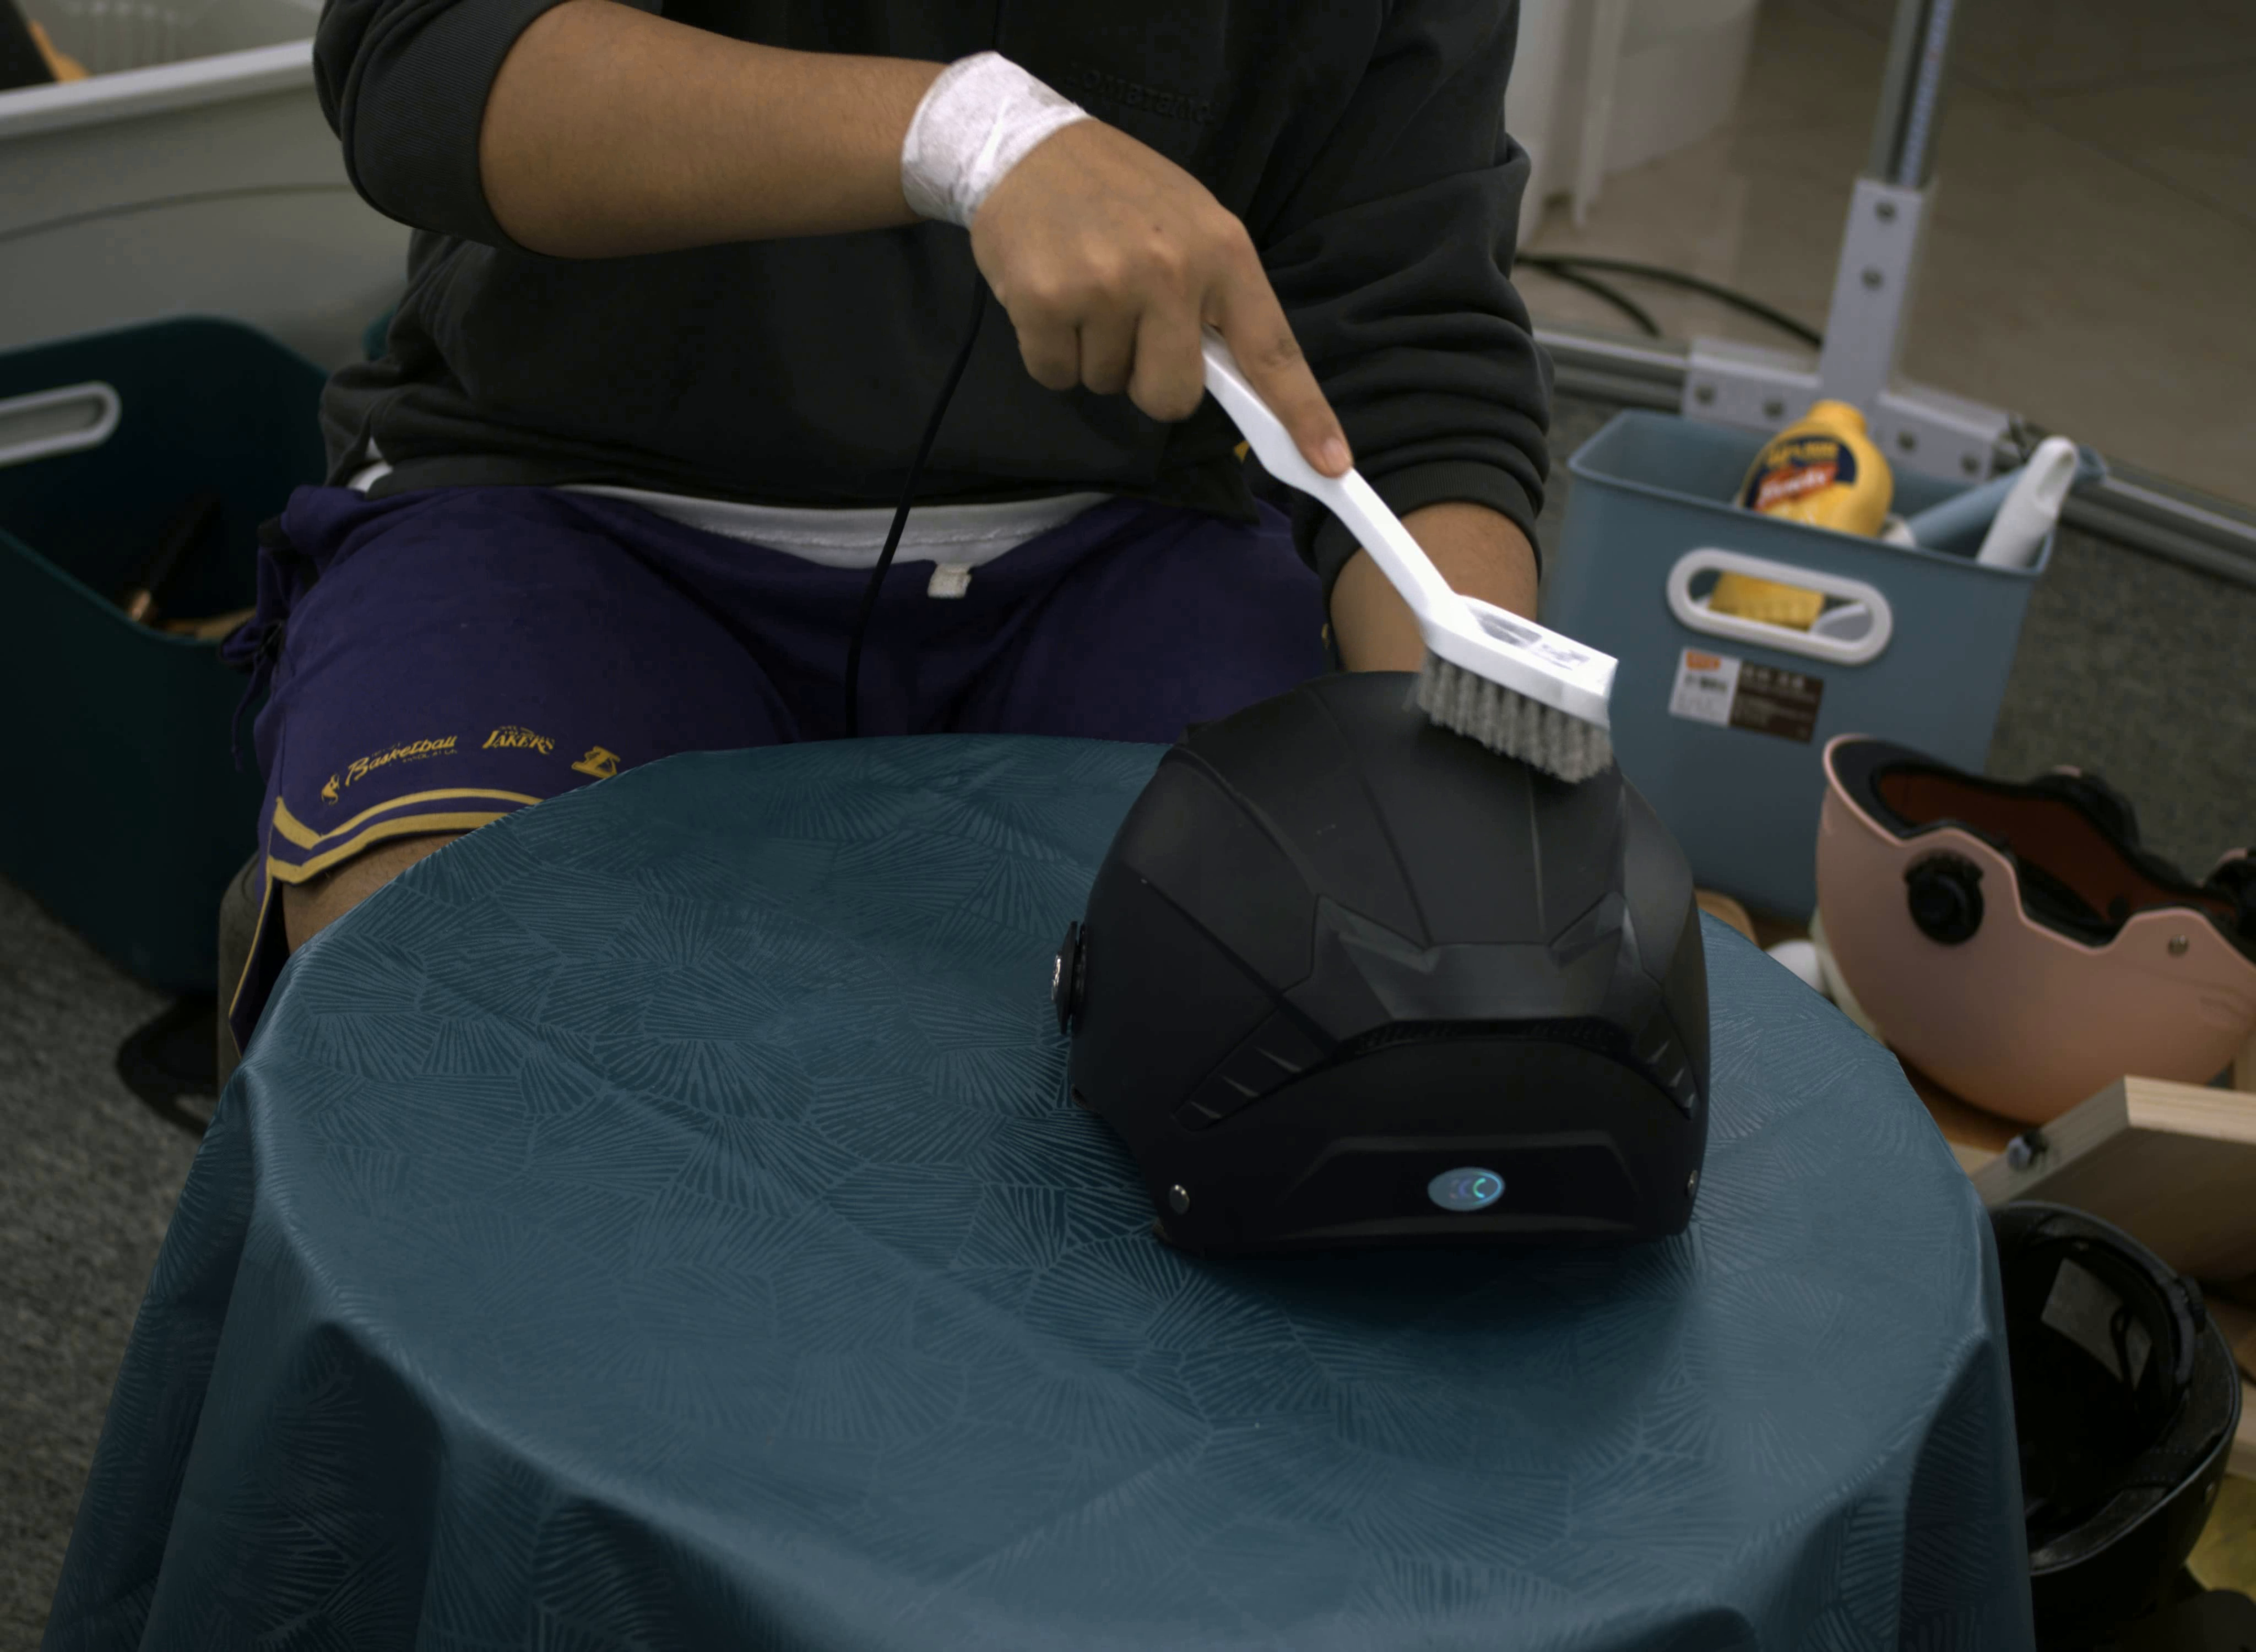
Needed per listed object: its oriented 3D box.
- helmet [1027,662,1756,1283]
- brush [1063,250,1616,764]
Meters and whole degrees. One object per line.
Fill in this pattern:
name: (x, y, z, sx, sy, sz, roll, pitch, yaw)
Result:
helmet: (0.096, 0.033, 1.818, 0.245, 0.172, 0.279, 1, 31, -8)
brush: (0.064, -0.104, 1.786, 0.244, 0.050, 0.034, 39, 32, 12)
